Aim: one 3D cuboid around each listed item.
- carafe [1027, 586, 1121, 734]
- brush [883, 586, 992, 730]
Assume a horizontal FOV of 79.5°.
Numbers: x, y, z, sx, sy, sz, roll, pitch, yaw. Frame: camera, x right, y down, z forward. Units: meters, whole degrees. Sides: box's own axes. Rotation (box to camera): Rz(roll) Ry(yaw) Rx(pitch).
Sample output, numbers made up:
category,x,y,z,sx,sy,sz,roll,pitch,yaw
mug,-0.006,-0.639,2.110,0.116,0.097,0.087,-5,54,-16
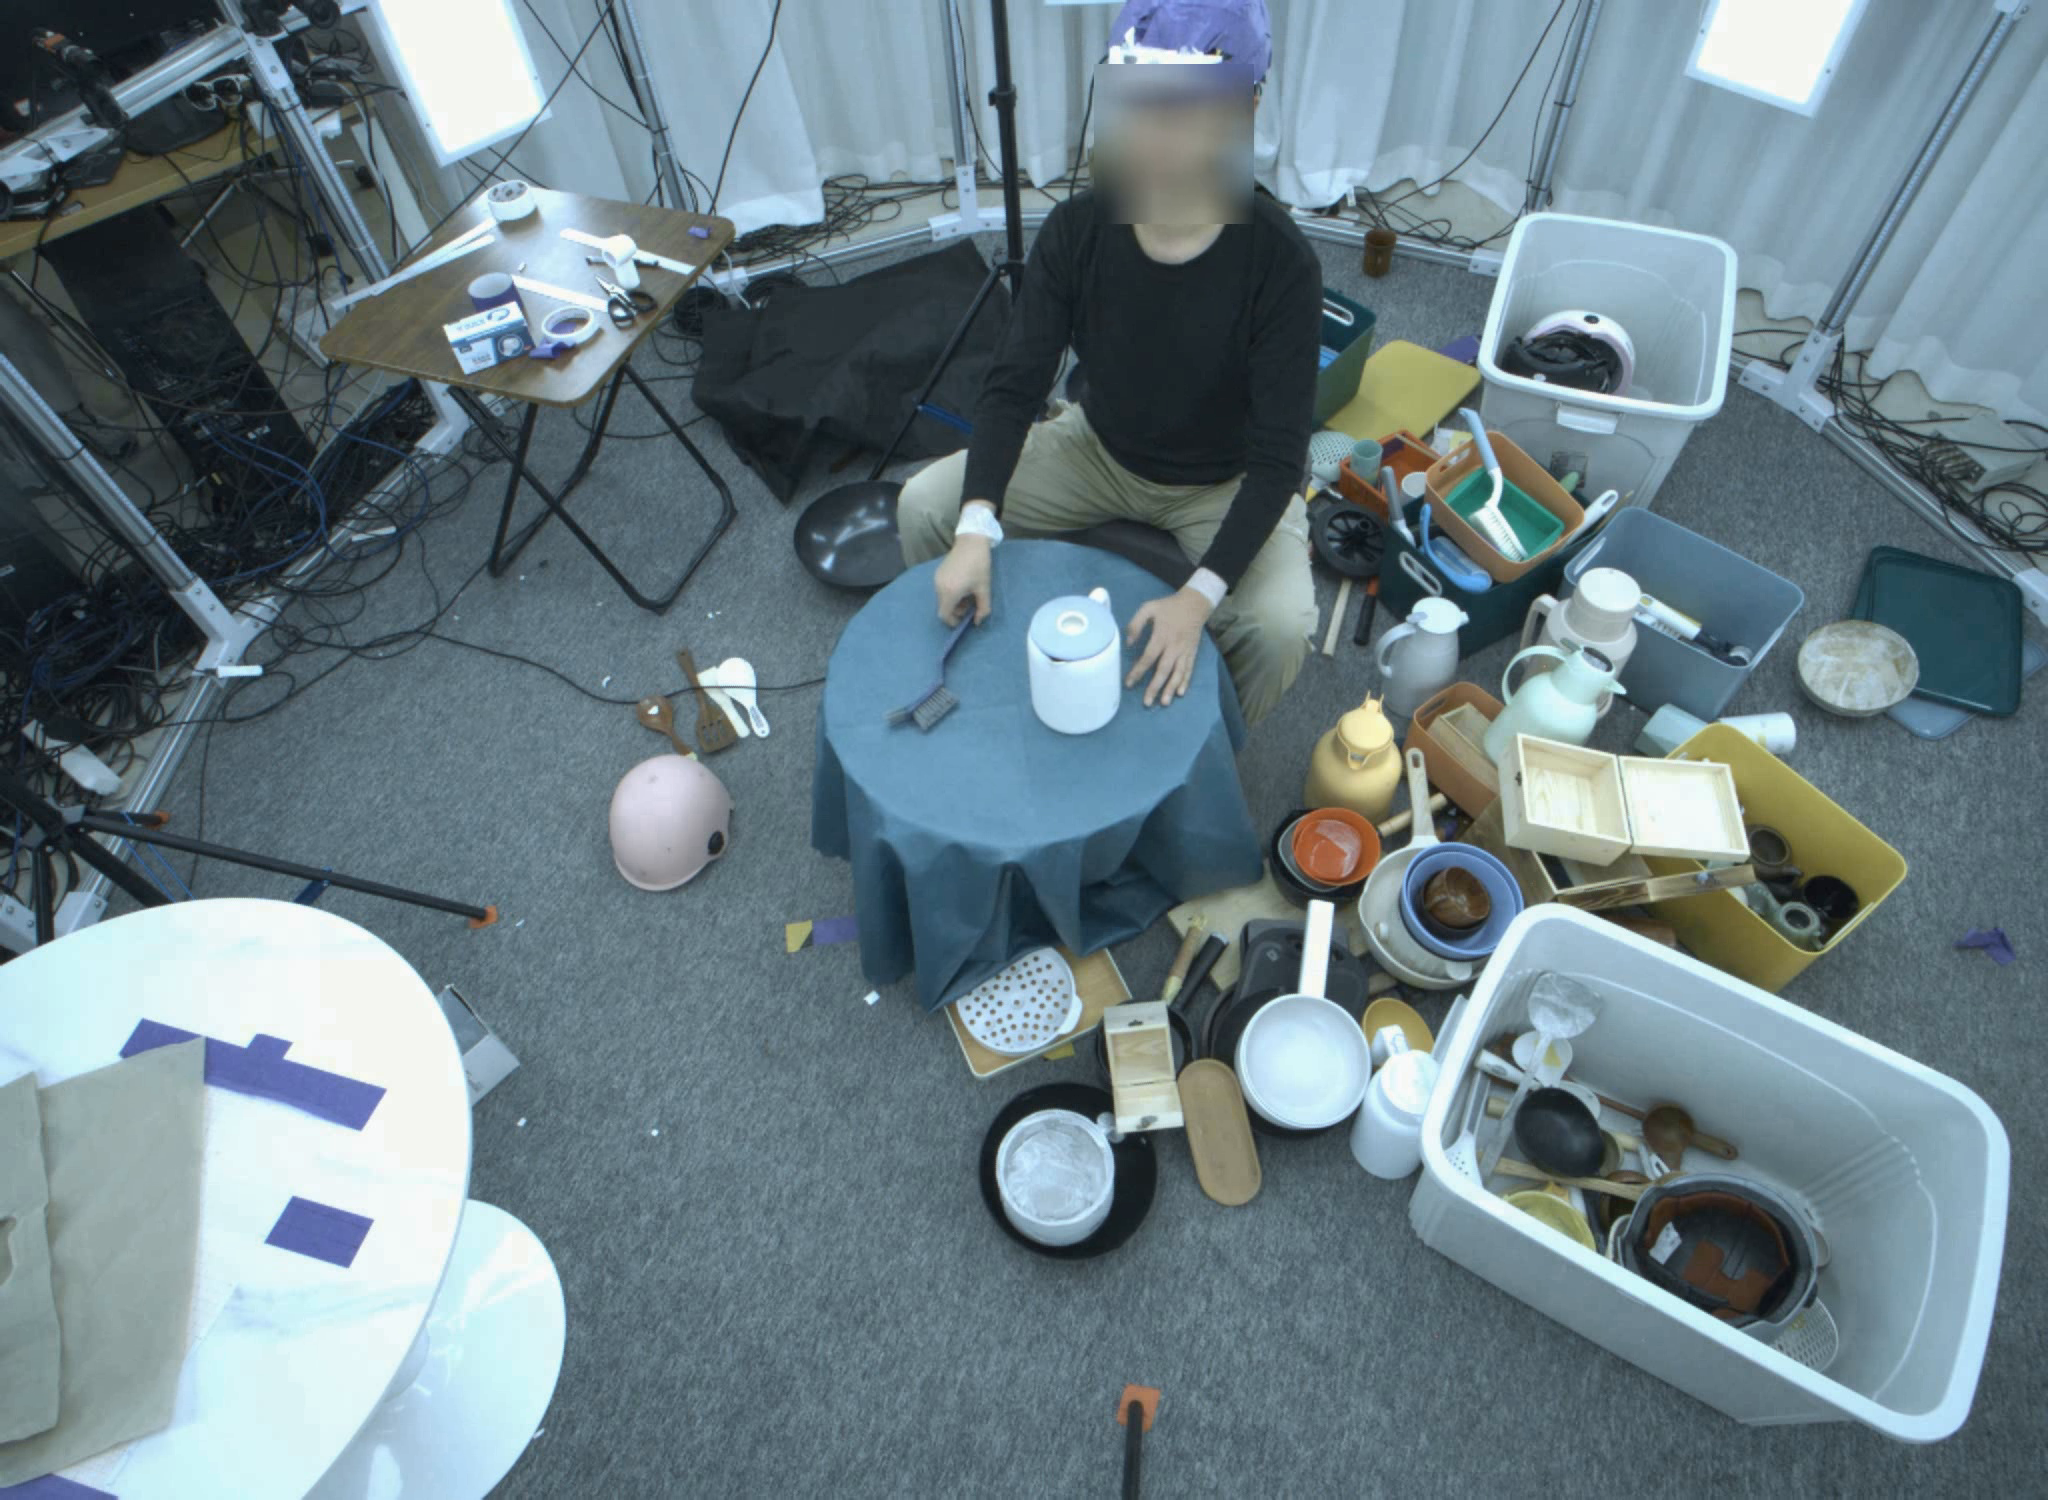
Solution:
category,x,y,z,sx,sy,sz,roll,pitch,yaw
carafe,0.082,-0.140,1.778,0.131,0.184,0.191,17,56,15
brush,-0.125,-0.146,1.872,0.095,0.034,0.272,14,60,12
